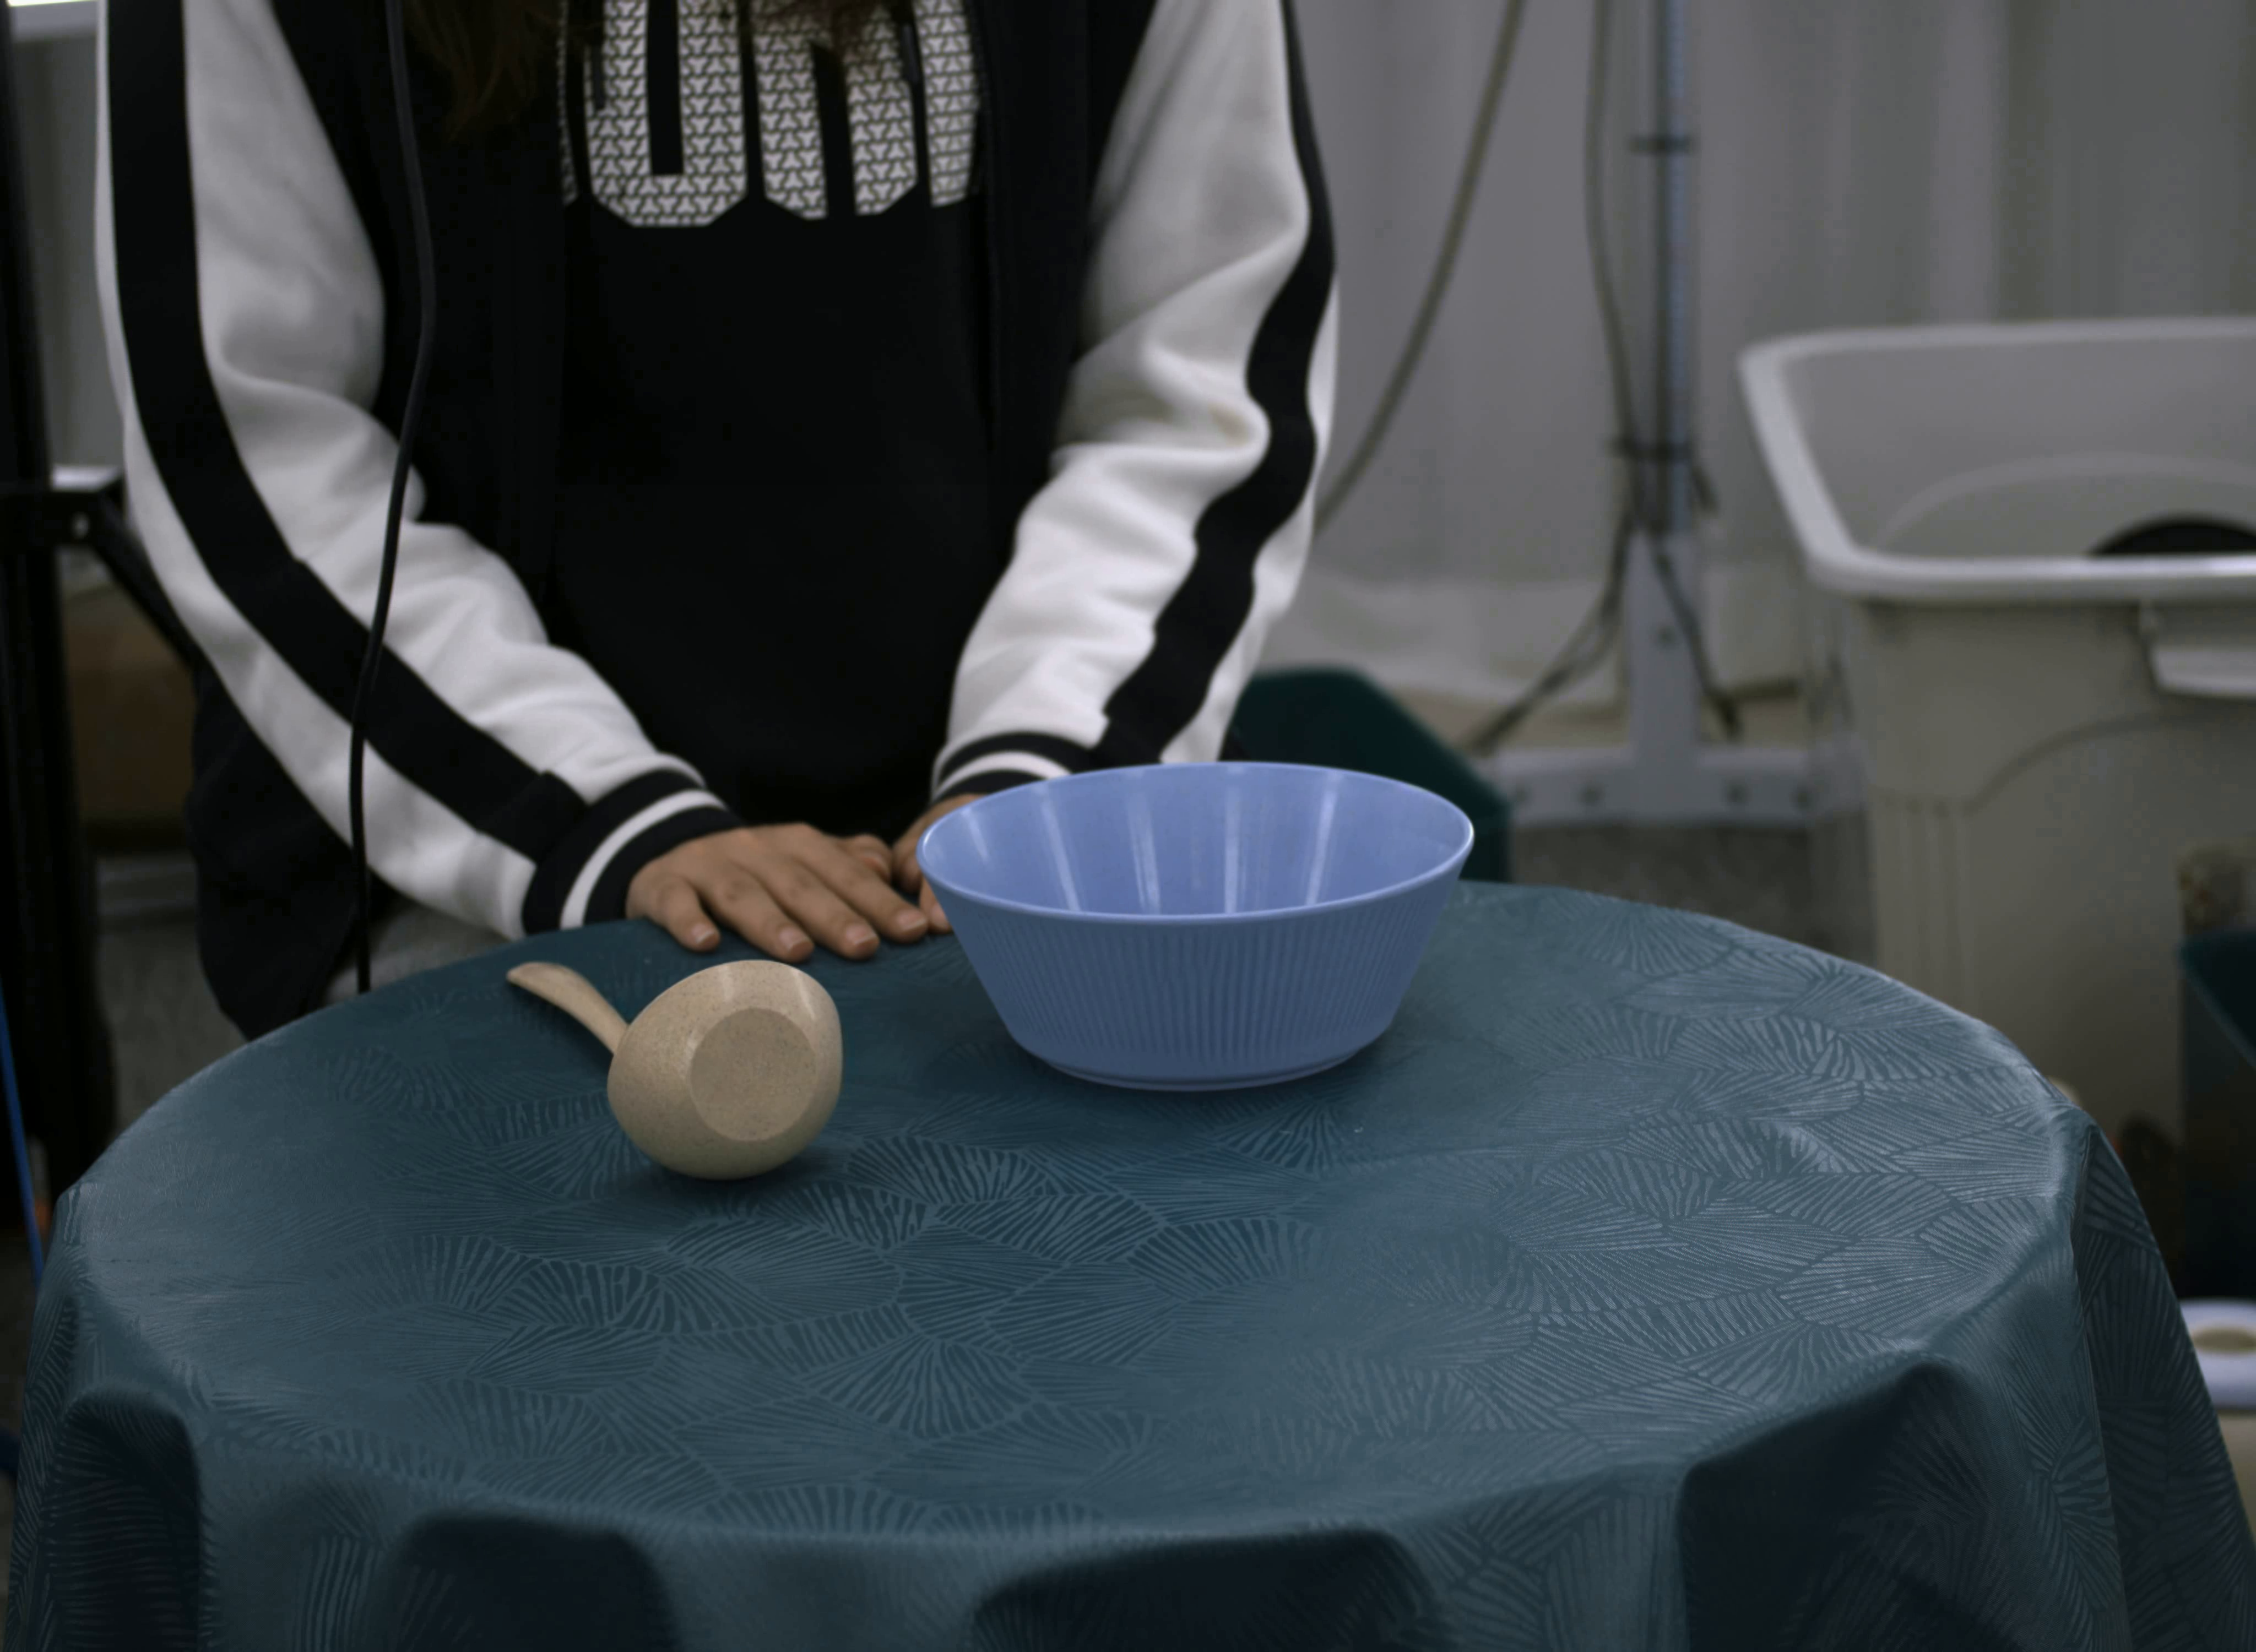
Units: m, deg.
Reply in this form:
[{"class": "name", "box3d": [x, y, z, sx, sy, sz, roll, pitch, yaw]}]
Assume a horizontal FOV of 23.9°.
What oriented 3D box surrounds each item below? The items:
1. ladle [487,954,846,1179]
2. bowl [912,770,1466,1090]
[{"class": "ladle", "box3d": [-0.158, 0.047, 1.667, 0.071, 0.073, 0.259, -9, 17, -22]}, {"class": "bowl", "box3d": [0.020, 0.035, 1.685, 0.175, 0.070, 0.177, -2, 16, -1]}]
